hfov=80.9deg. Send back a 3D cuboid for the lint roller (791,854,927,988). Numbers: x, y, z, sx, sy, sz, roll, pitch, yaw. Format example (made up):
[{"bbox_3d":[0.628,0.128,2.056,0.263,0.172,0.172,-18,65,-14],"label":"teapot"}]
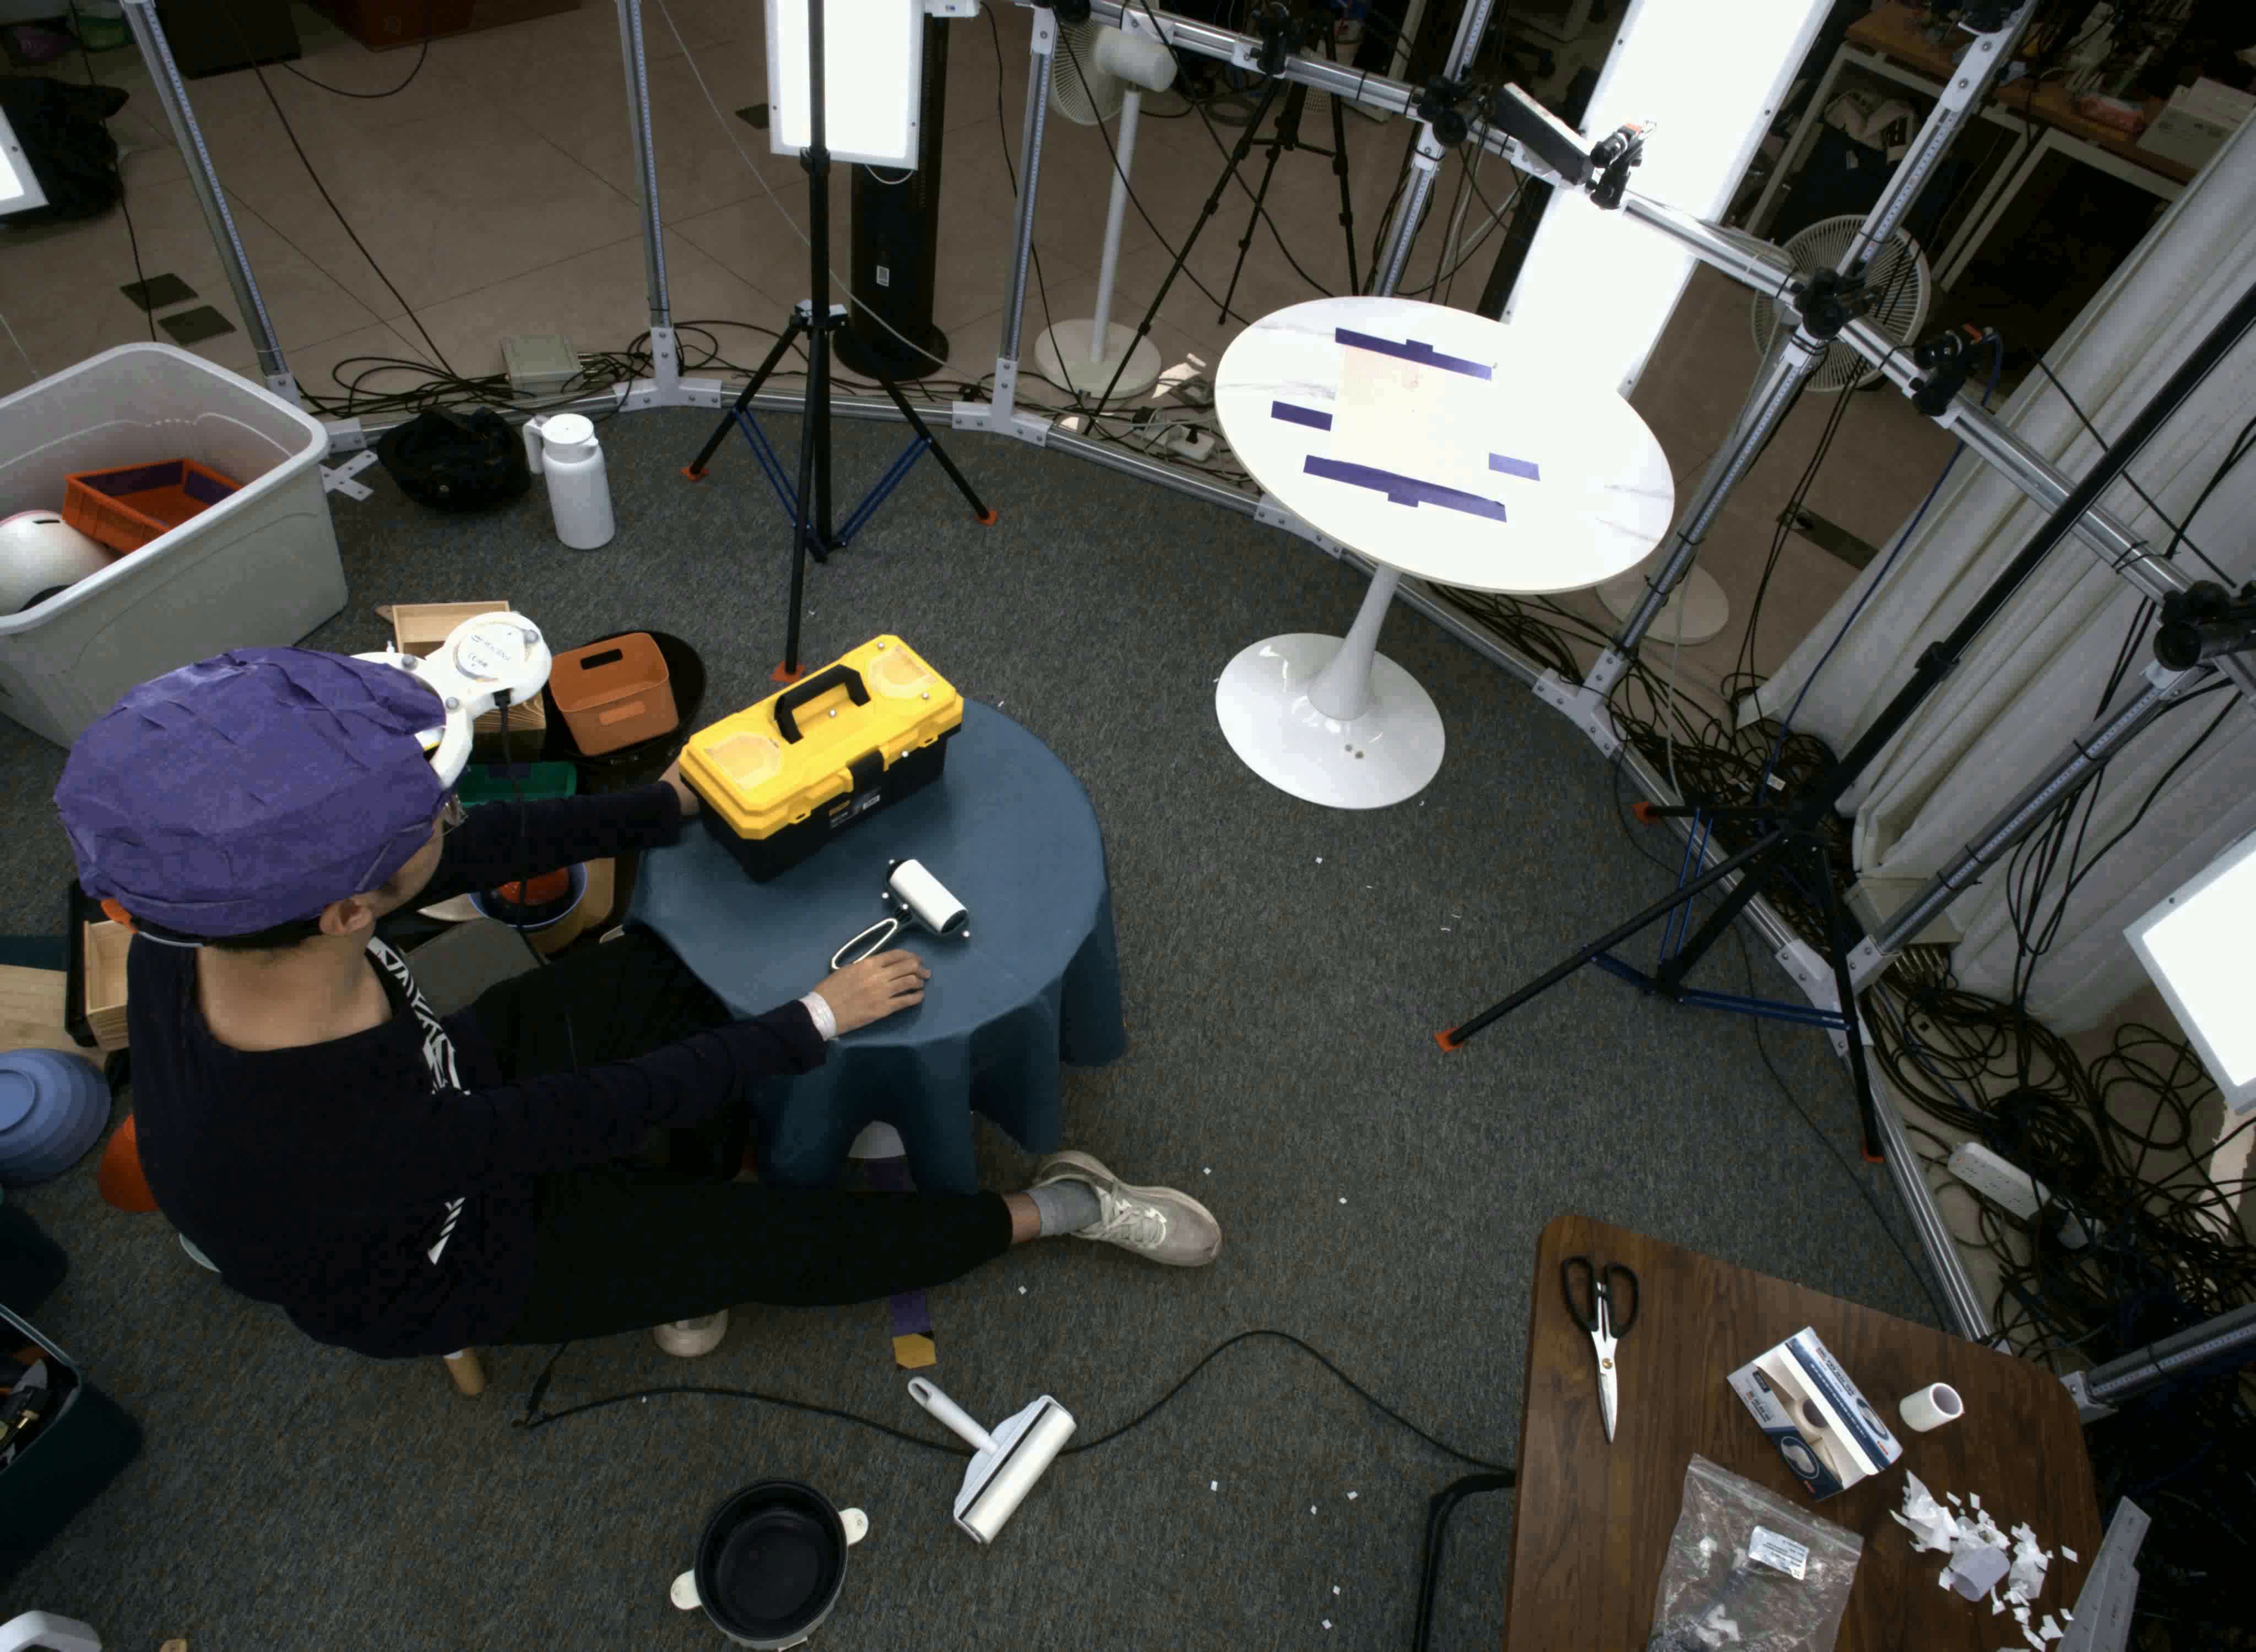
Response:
[{"bbox_3d":[-0.354,0.131,1.631,0.131,0.049,0.180,40,59,15],"label":"lint roller"}]

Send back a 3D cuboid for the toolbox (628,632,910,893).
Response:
[{"bbox_3d":[-0.455,-0.082,1.676,0.177,0.176,0.352,39,55,18],"label":"toolbox"}]
